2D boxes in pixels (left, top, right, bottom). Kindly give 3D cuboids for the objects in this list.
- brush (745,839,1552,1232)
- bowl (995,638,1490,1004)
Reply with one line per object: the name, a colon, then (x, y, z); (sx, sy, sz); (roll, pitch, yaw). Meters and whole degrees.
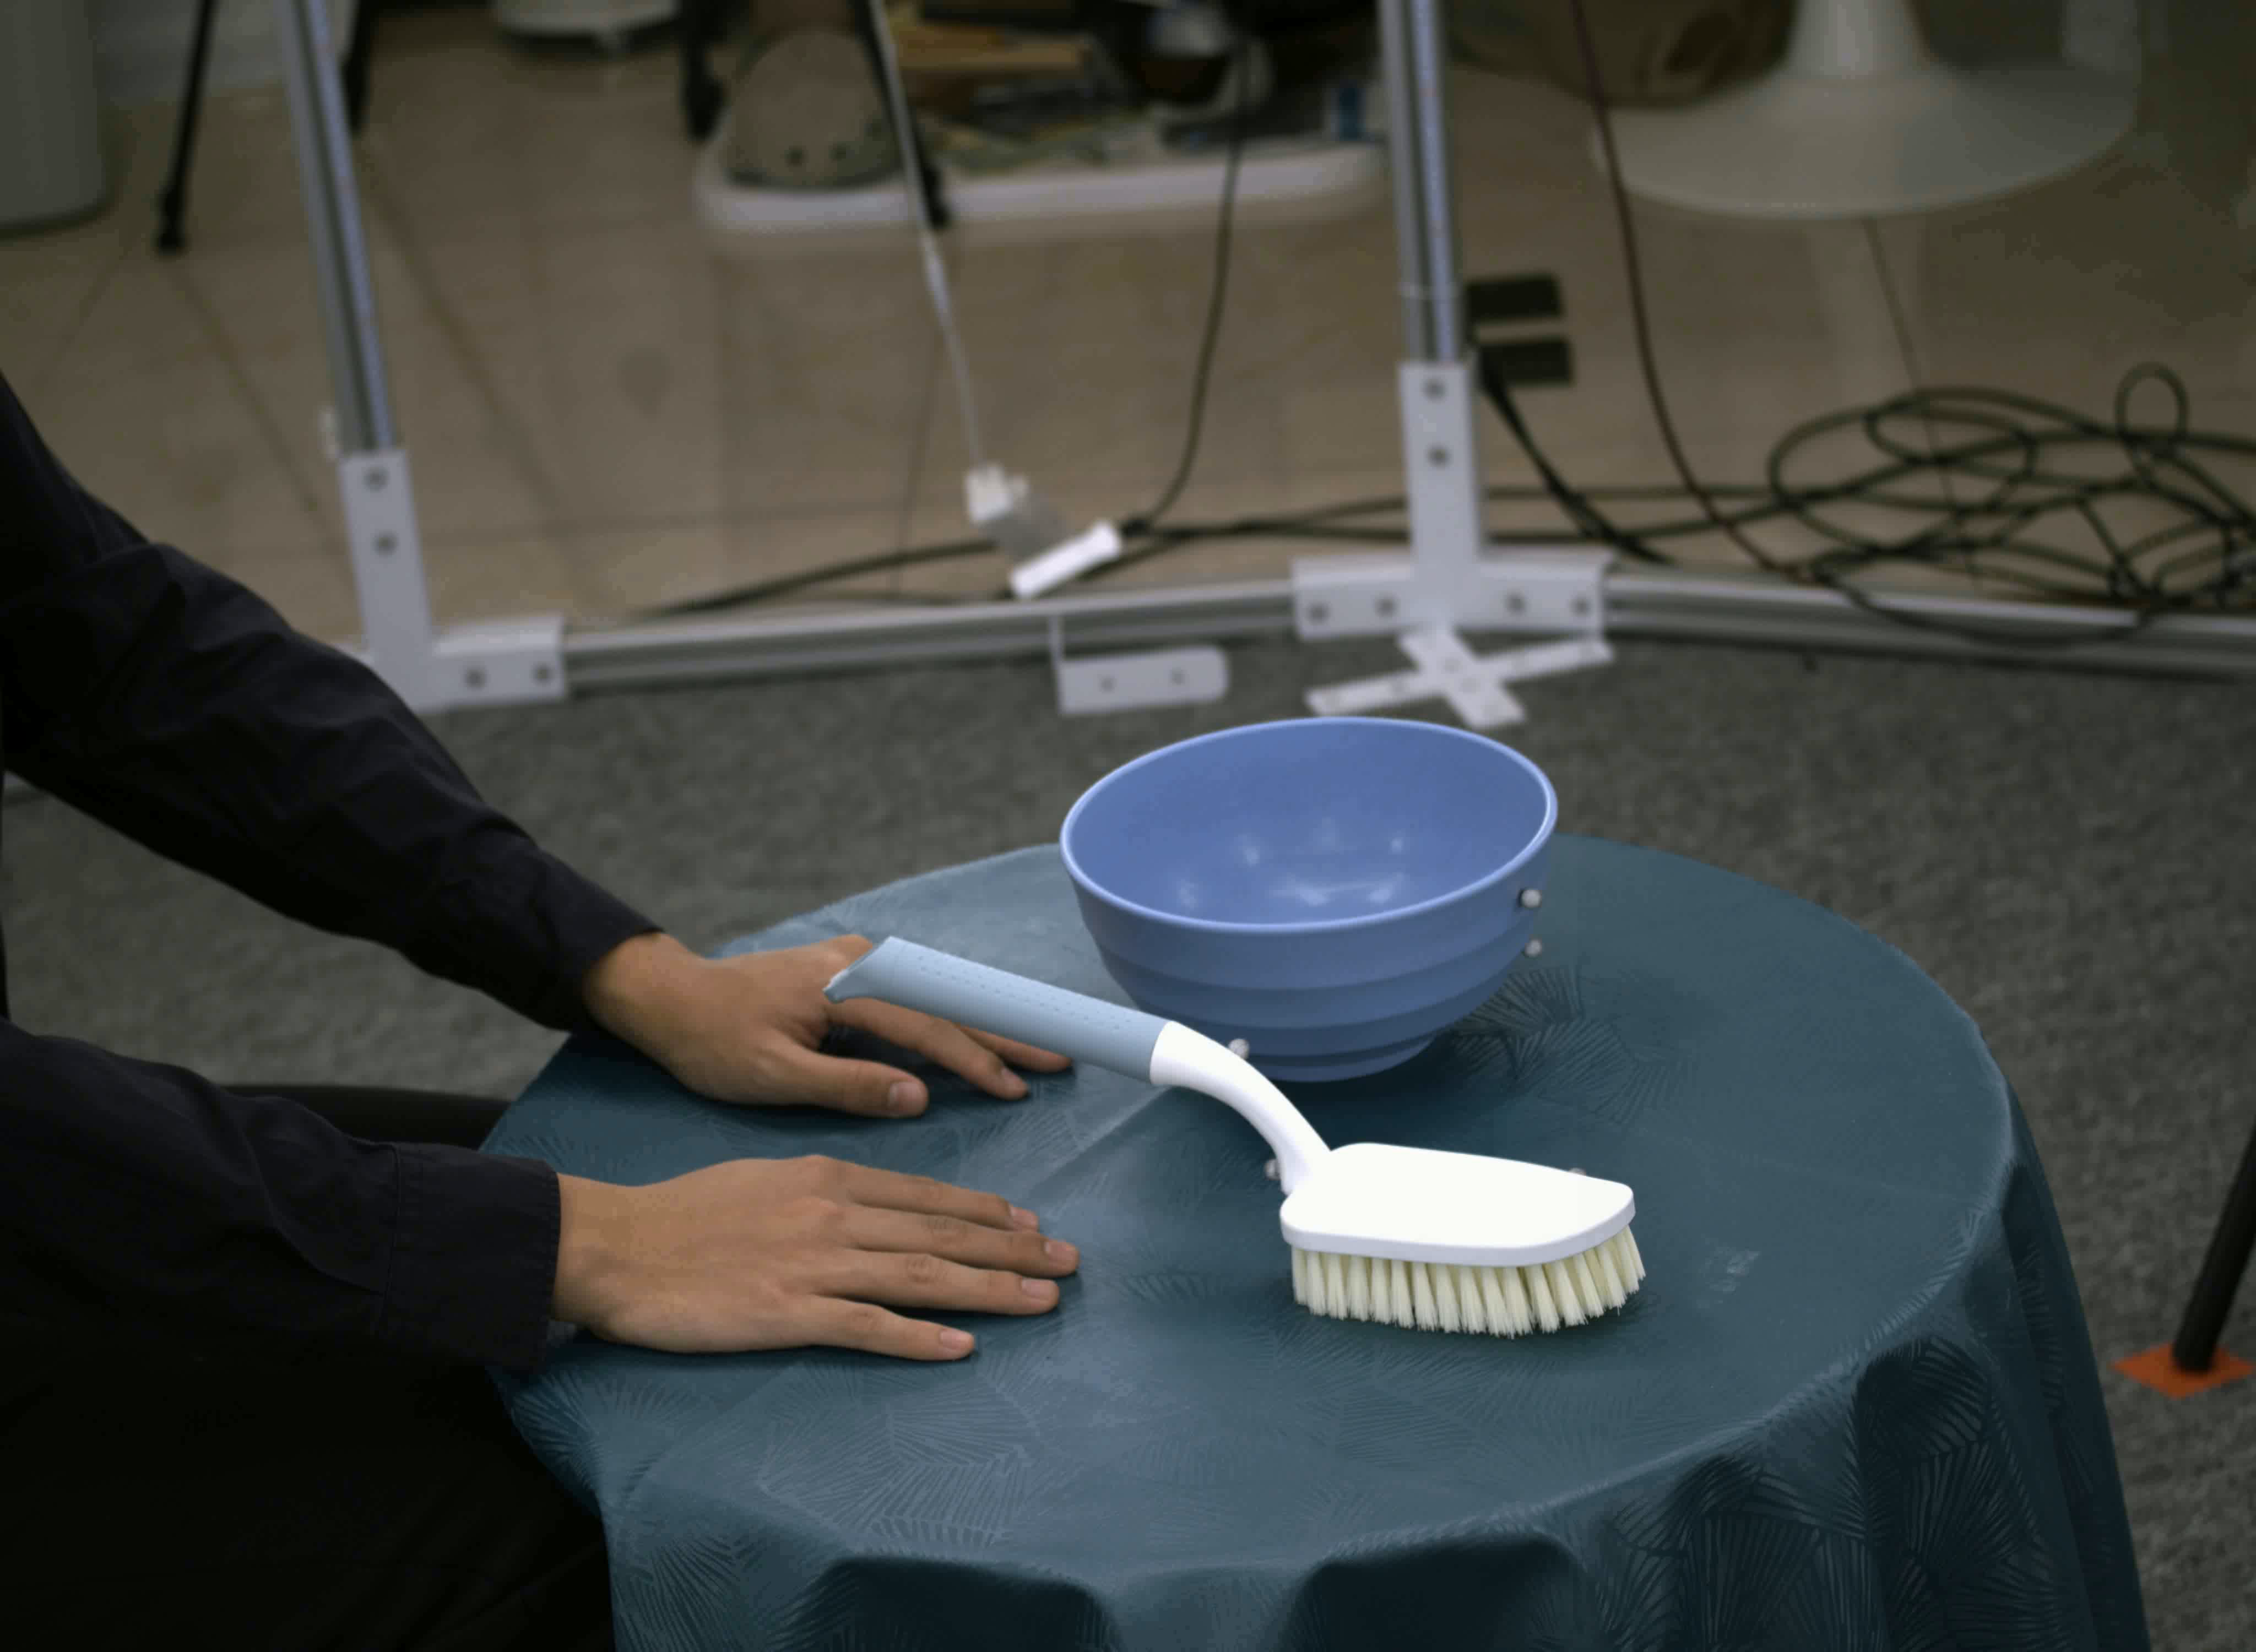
brush: (0.004, 0.088, 2.104); (0.324, 0.084, 0.083); (17, -5, 18)
bowl: (0.050, 0.008, 2.254); (0.196, 0.097, 0.193); (-6, 26, 3)
